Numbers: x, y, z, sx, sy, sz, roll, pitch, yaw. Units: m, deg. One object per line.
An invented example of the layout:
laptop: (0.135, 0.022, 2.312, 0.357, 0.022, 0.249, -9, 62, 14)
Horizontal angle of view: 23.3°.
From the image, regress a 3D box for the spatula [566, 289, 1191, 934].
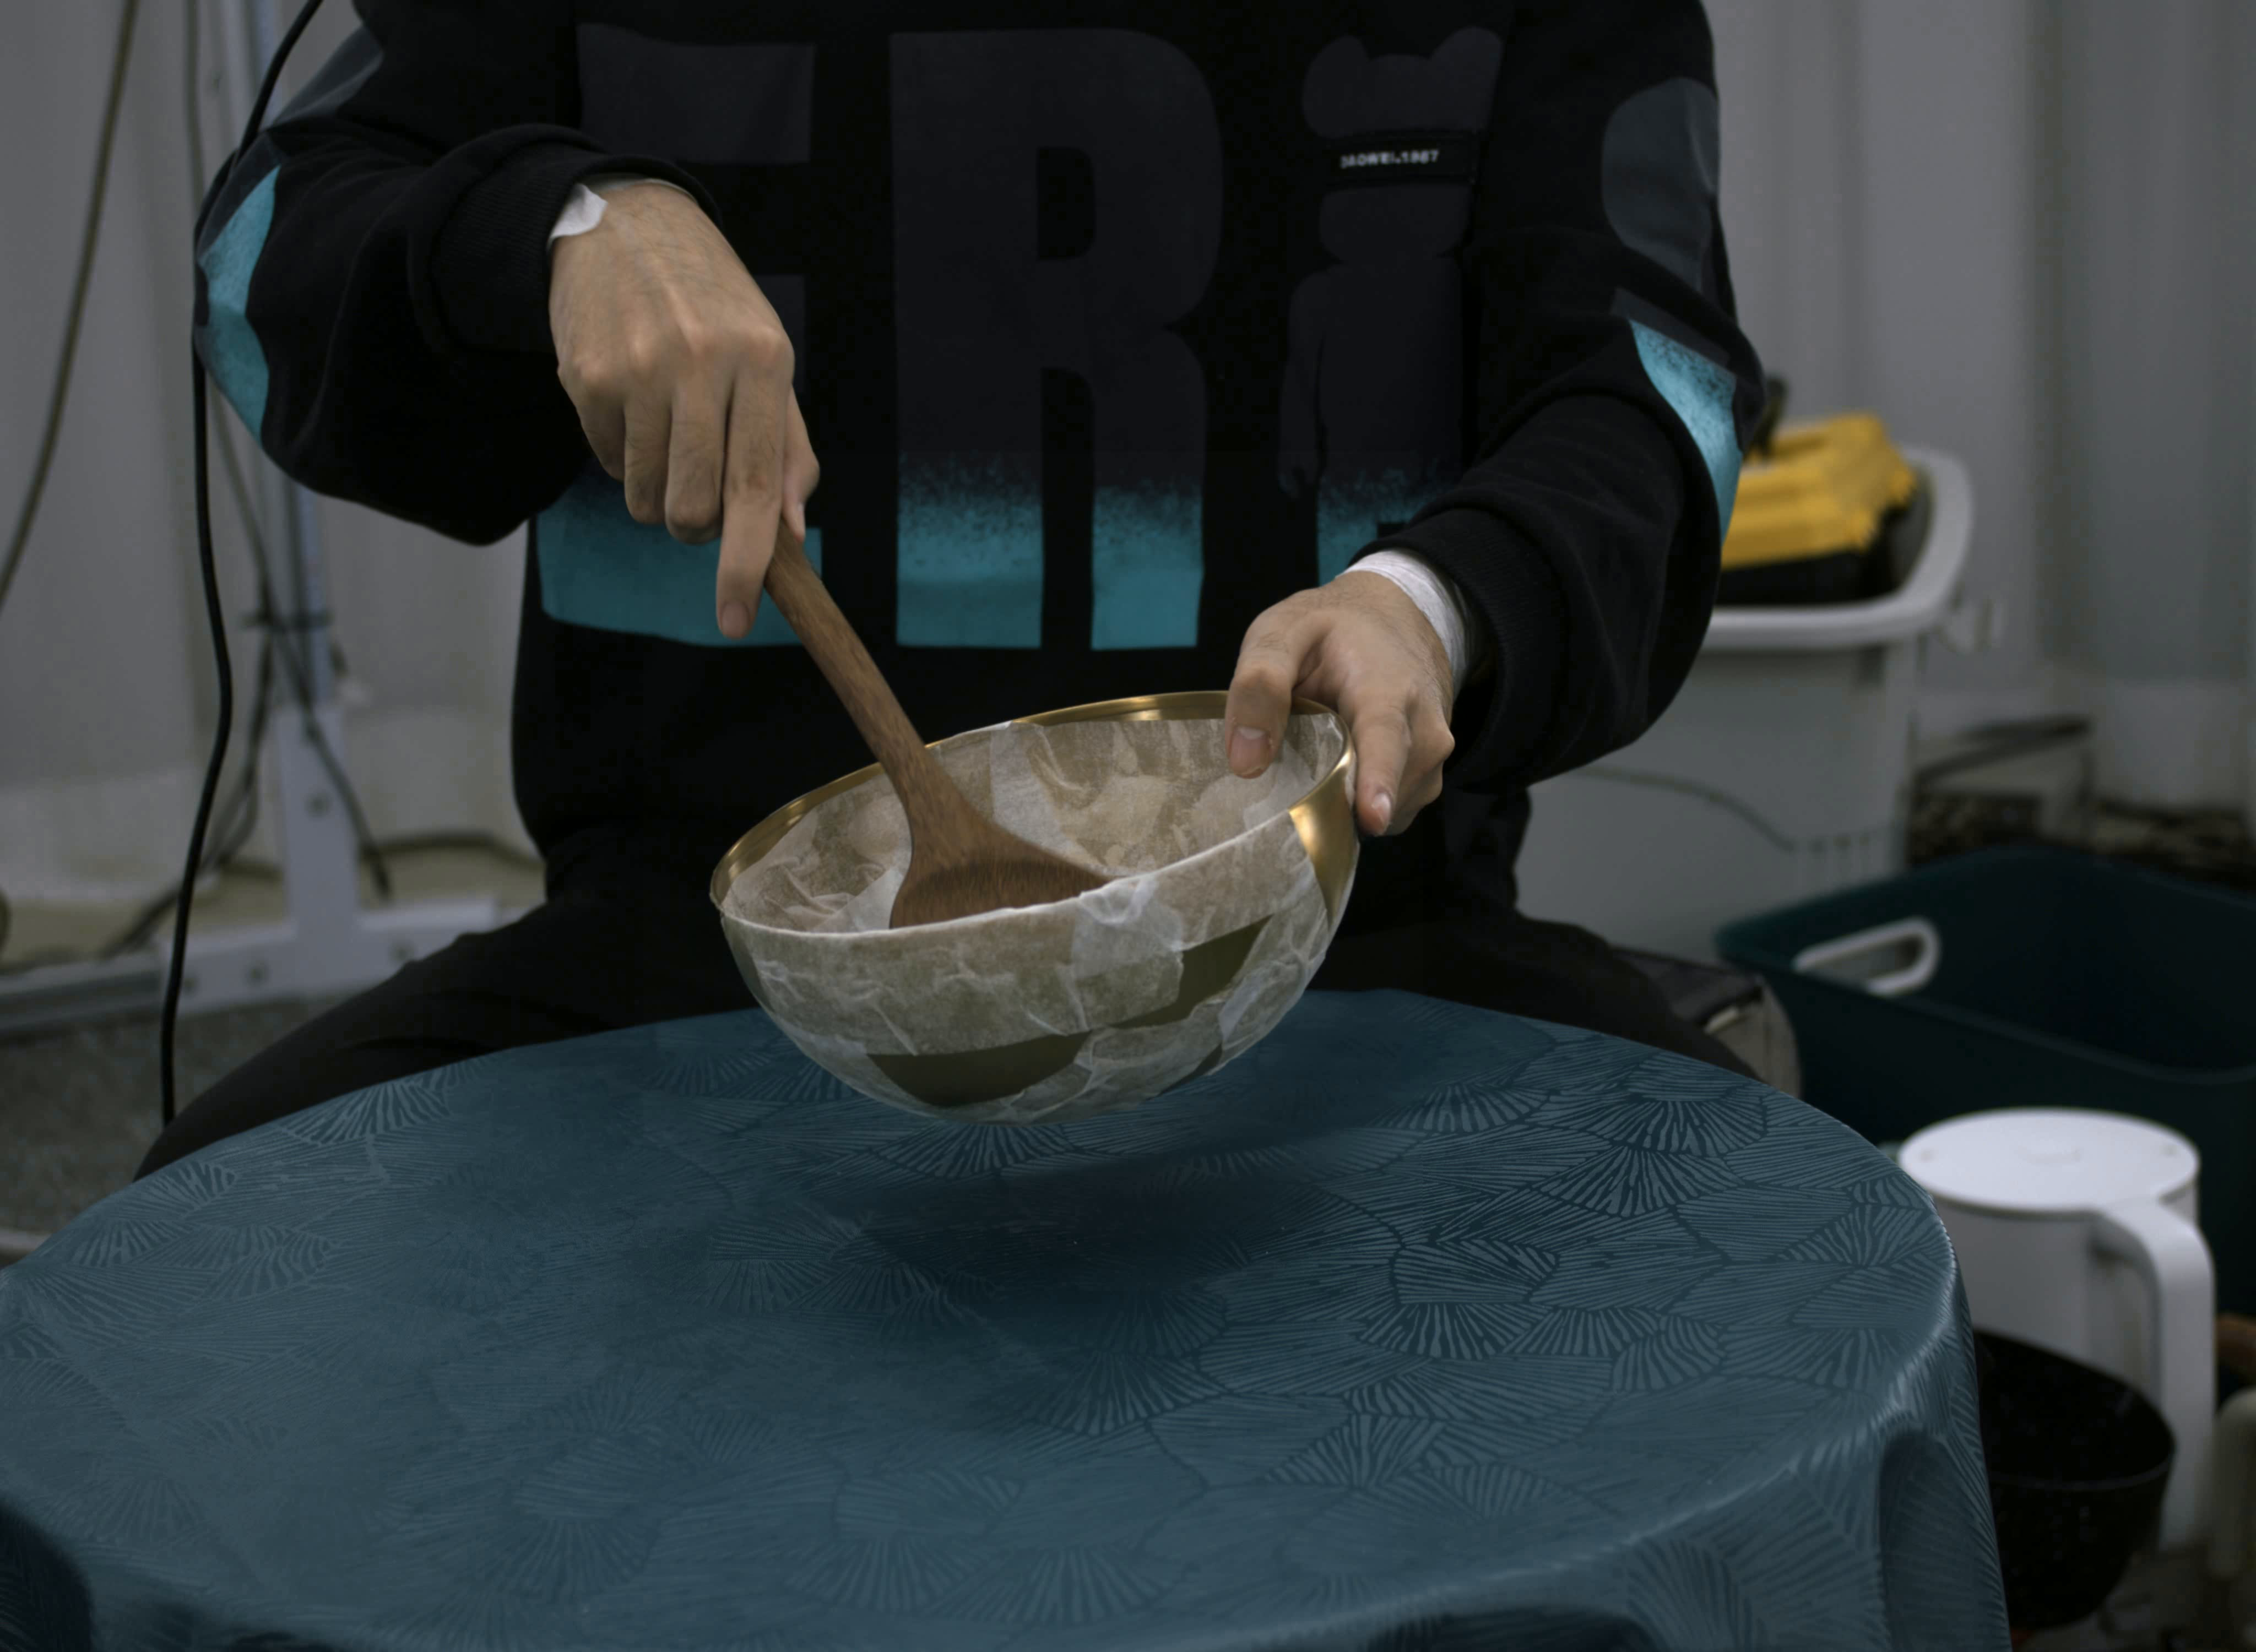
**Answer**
spatula: (-0.092, -0.058, 1.719, 0.095, 0.015, 0.391, -9, 44, -30)

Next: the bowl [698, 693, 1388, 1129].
bowl: (-0.017, 0.034, 1.655, 0.214, 0.094, 0.216, -14, 14, 3)
